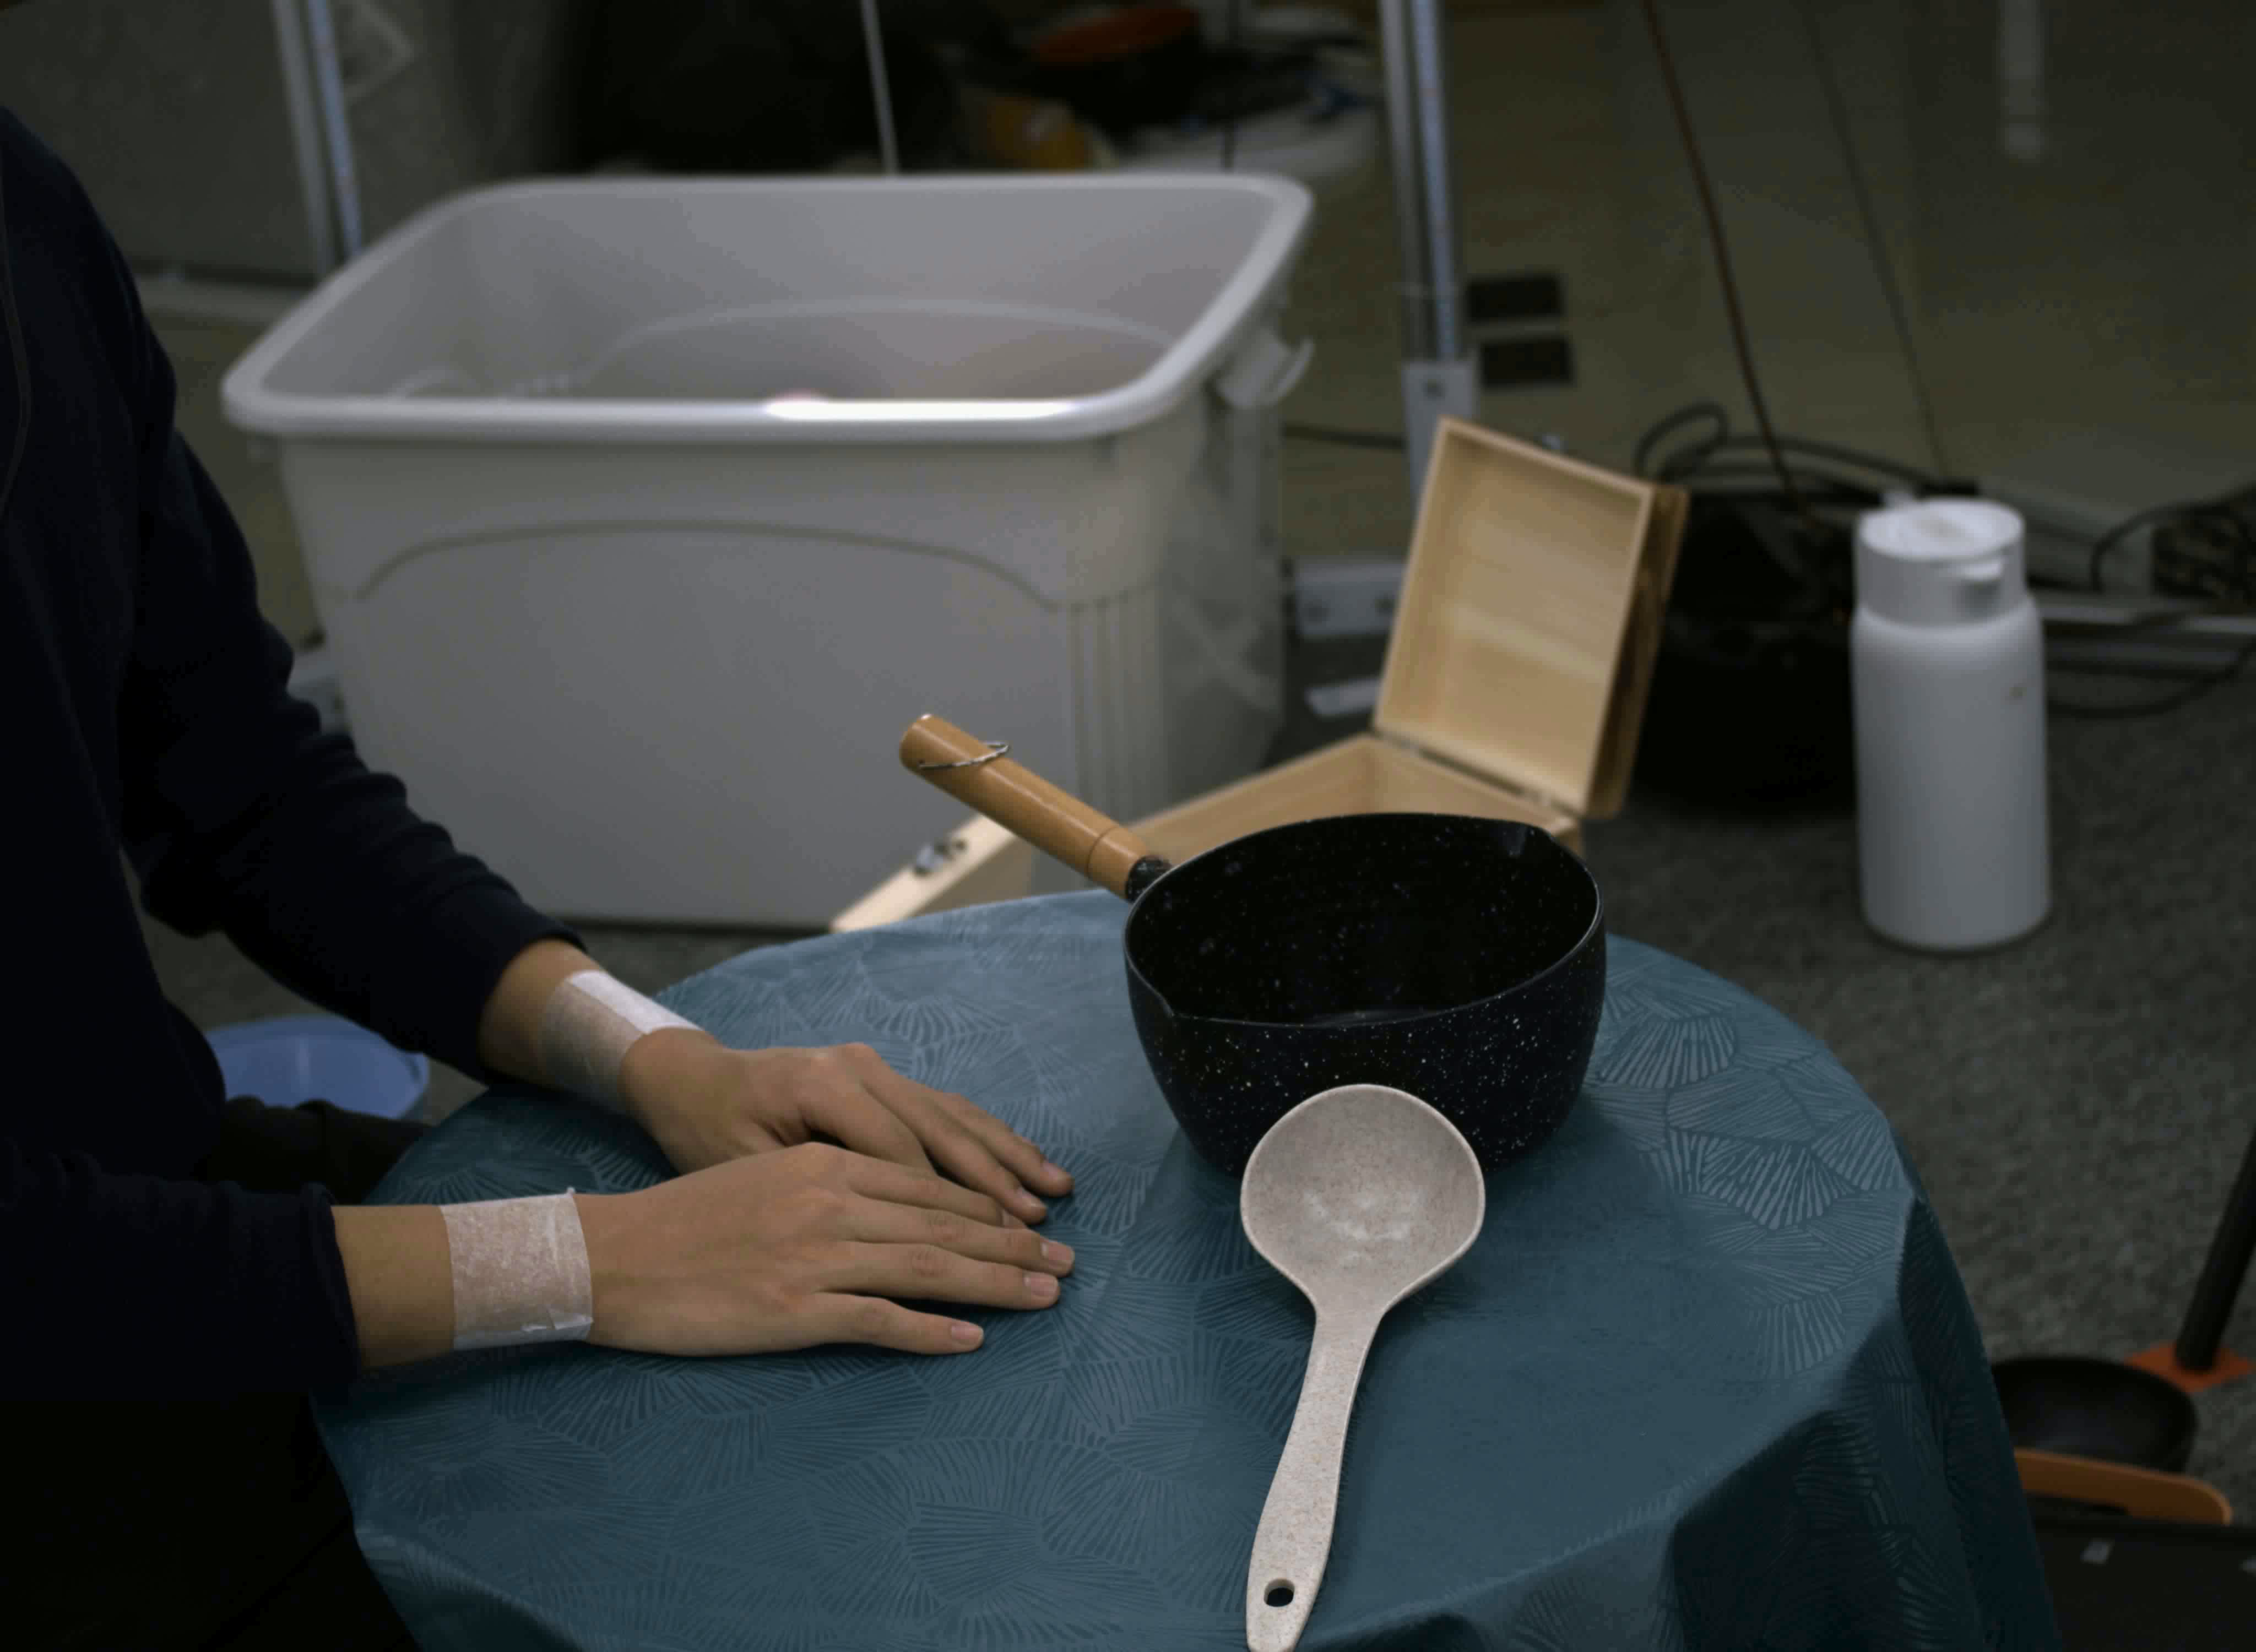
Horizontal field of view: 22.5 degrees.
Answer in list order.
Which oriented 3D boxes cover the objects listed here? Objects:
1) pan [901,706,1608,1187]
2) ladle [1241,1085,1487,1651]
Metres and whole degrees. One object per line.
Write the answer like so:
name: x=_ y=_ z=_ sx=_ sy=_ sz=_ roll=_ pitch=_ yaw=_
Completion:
pan: x=0.035 y=0.043 z=2.214 sx=0.340 sy=0.110 sz=0.205 roll=19 pitch=36 yaw=40
ladle: x=0.068 y=0.182 z=1.957 sx=0.089 sy=0.070 sz=0.271 roll=5 pitch=27 yaw=8
